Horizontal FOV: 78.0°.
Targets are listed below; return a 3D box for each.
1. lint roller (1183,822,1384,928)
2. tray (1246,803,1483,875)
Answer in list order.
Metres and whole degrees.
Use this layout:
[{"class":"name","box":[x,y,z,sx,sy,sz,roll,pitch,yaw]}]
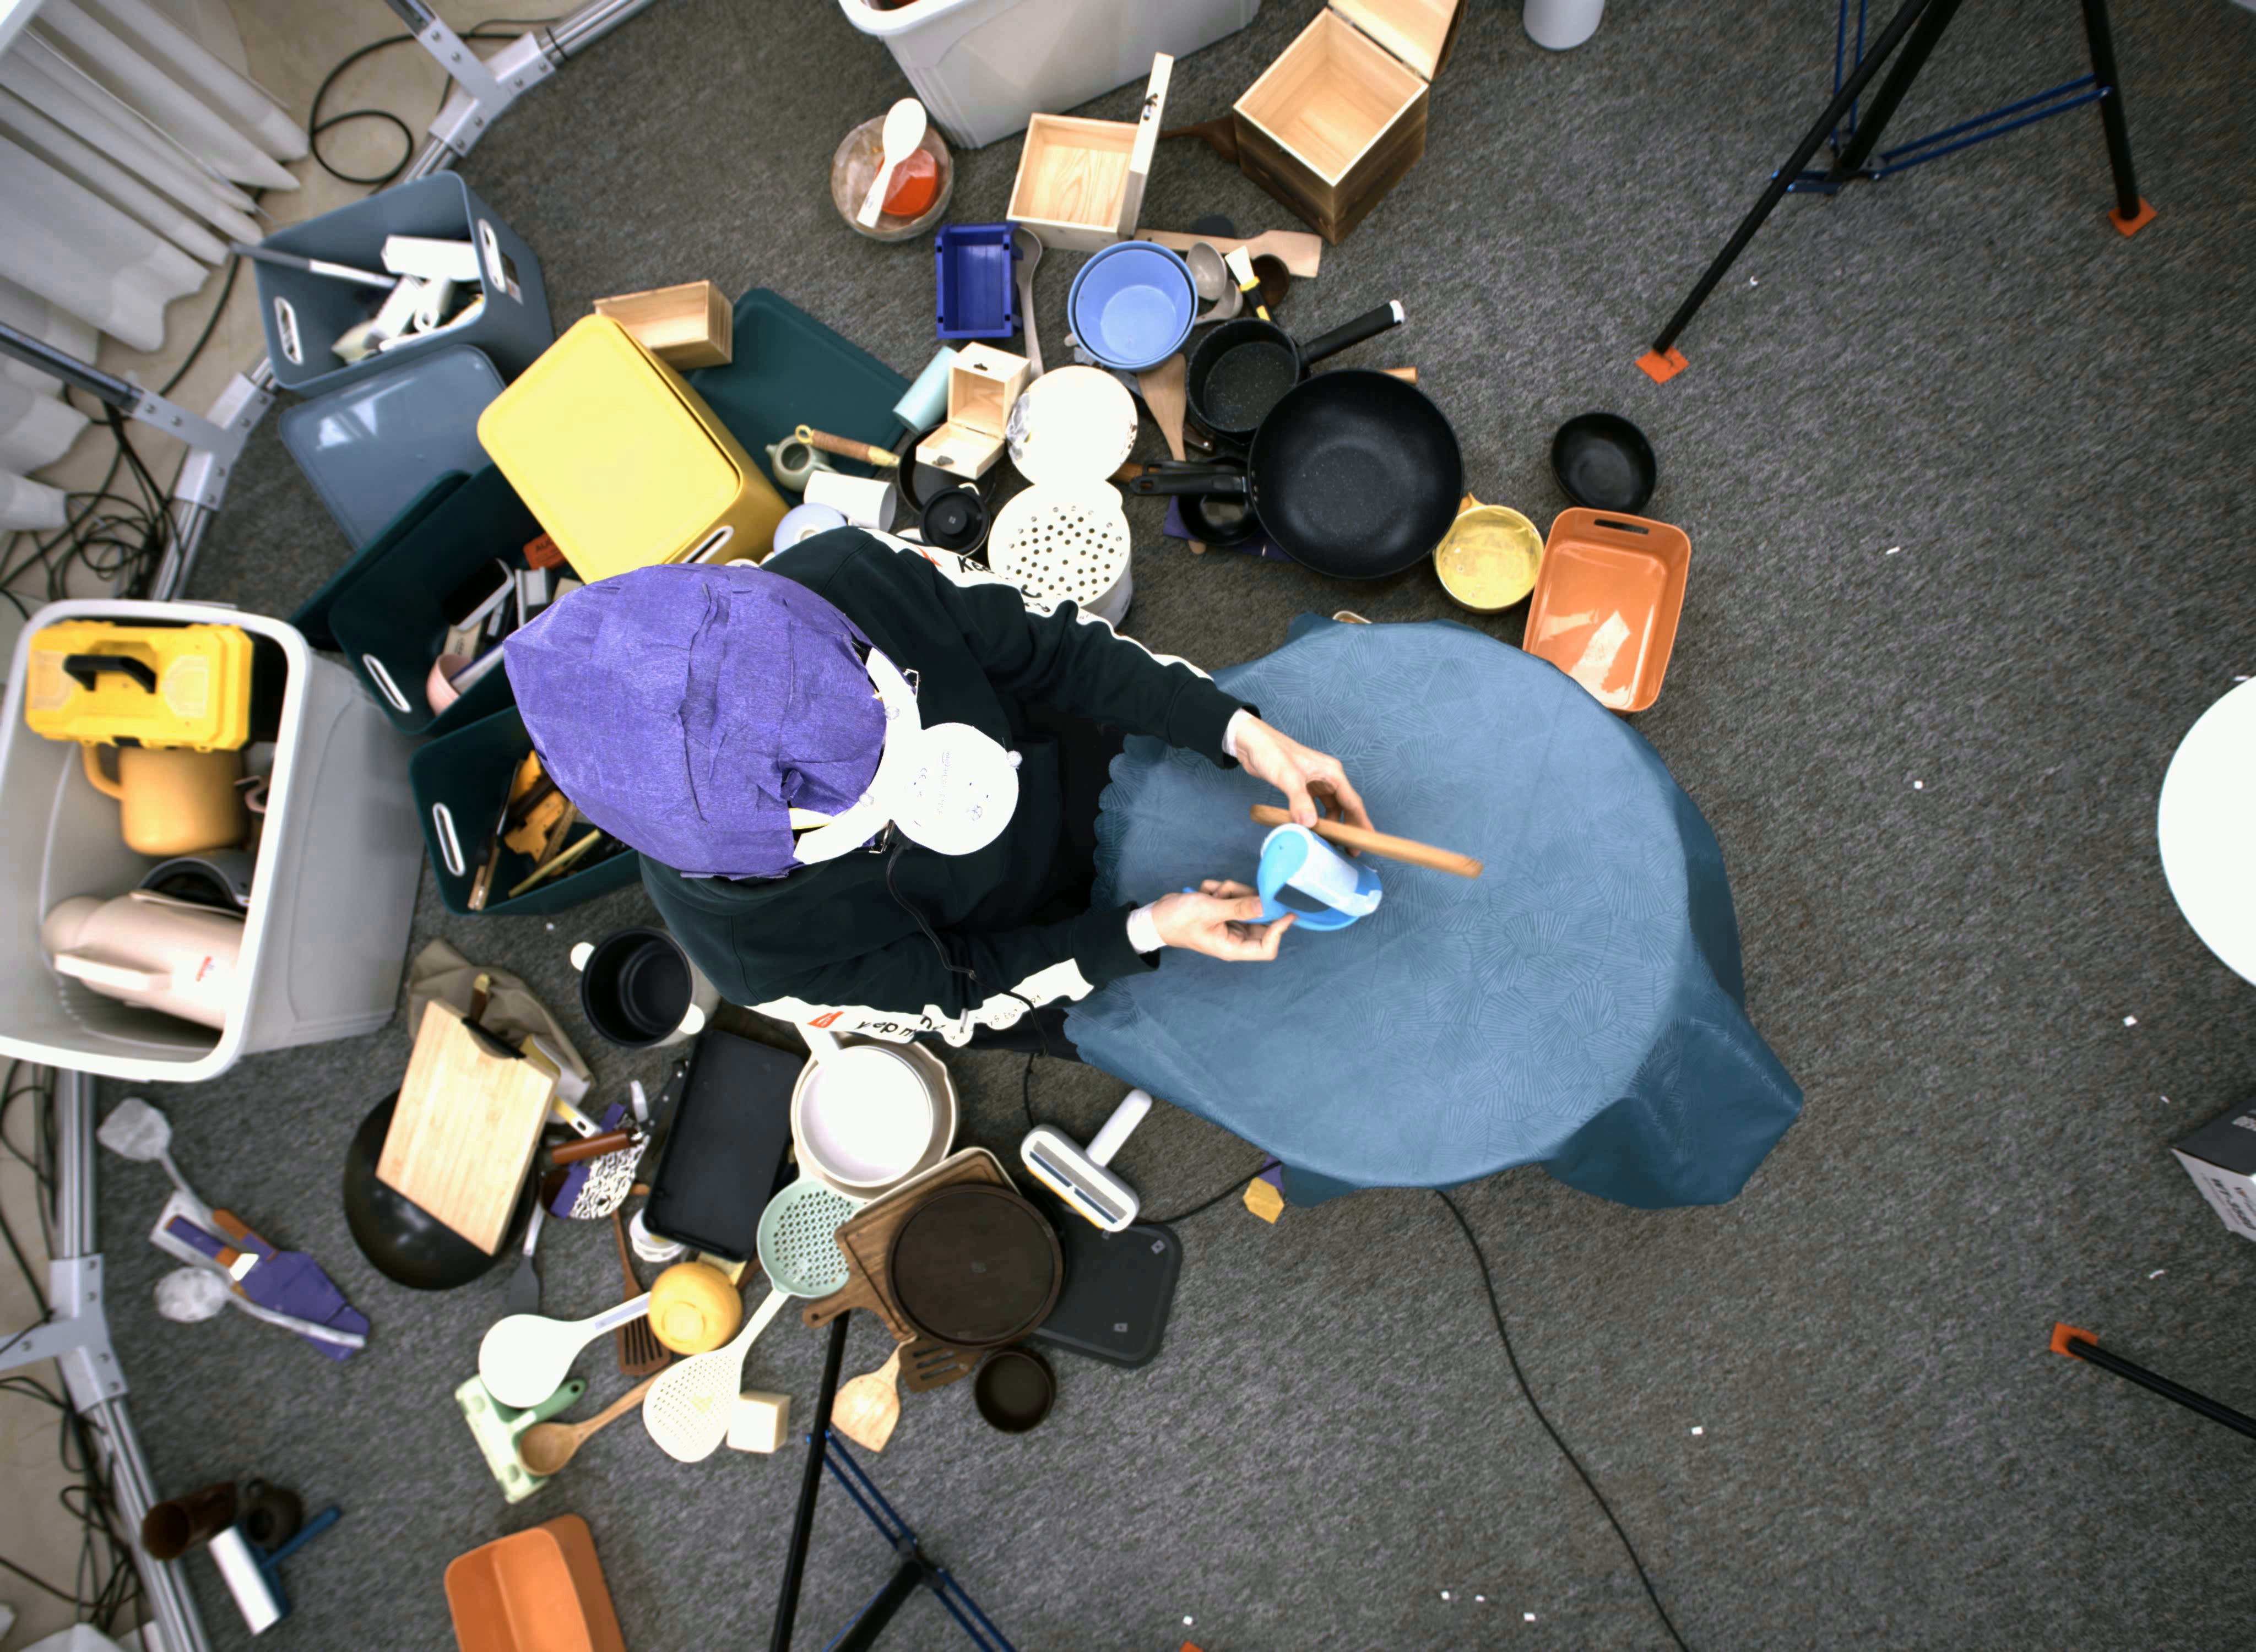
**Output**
[{"class":"lint roller","box":[0.141,0.062,1.364,0.183,0.229,0.067,-20,69,27]},{"class":"tray","box":[0.223,0.011,1.320,0.231,0.102,0.020,12,85,20]}]
